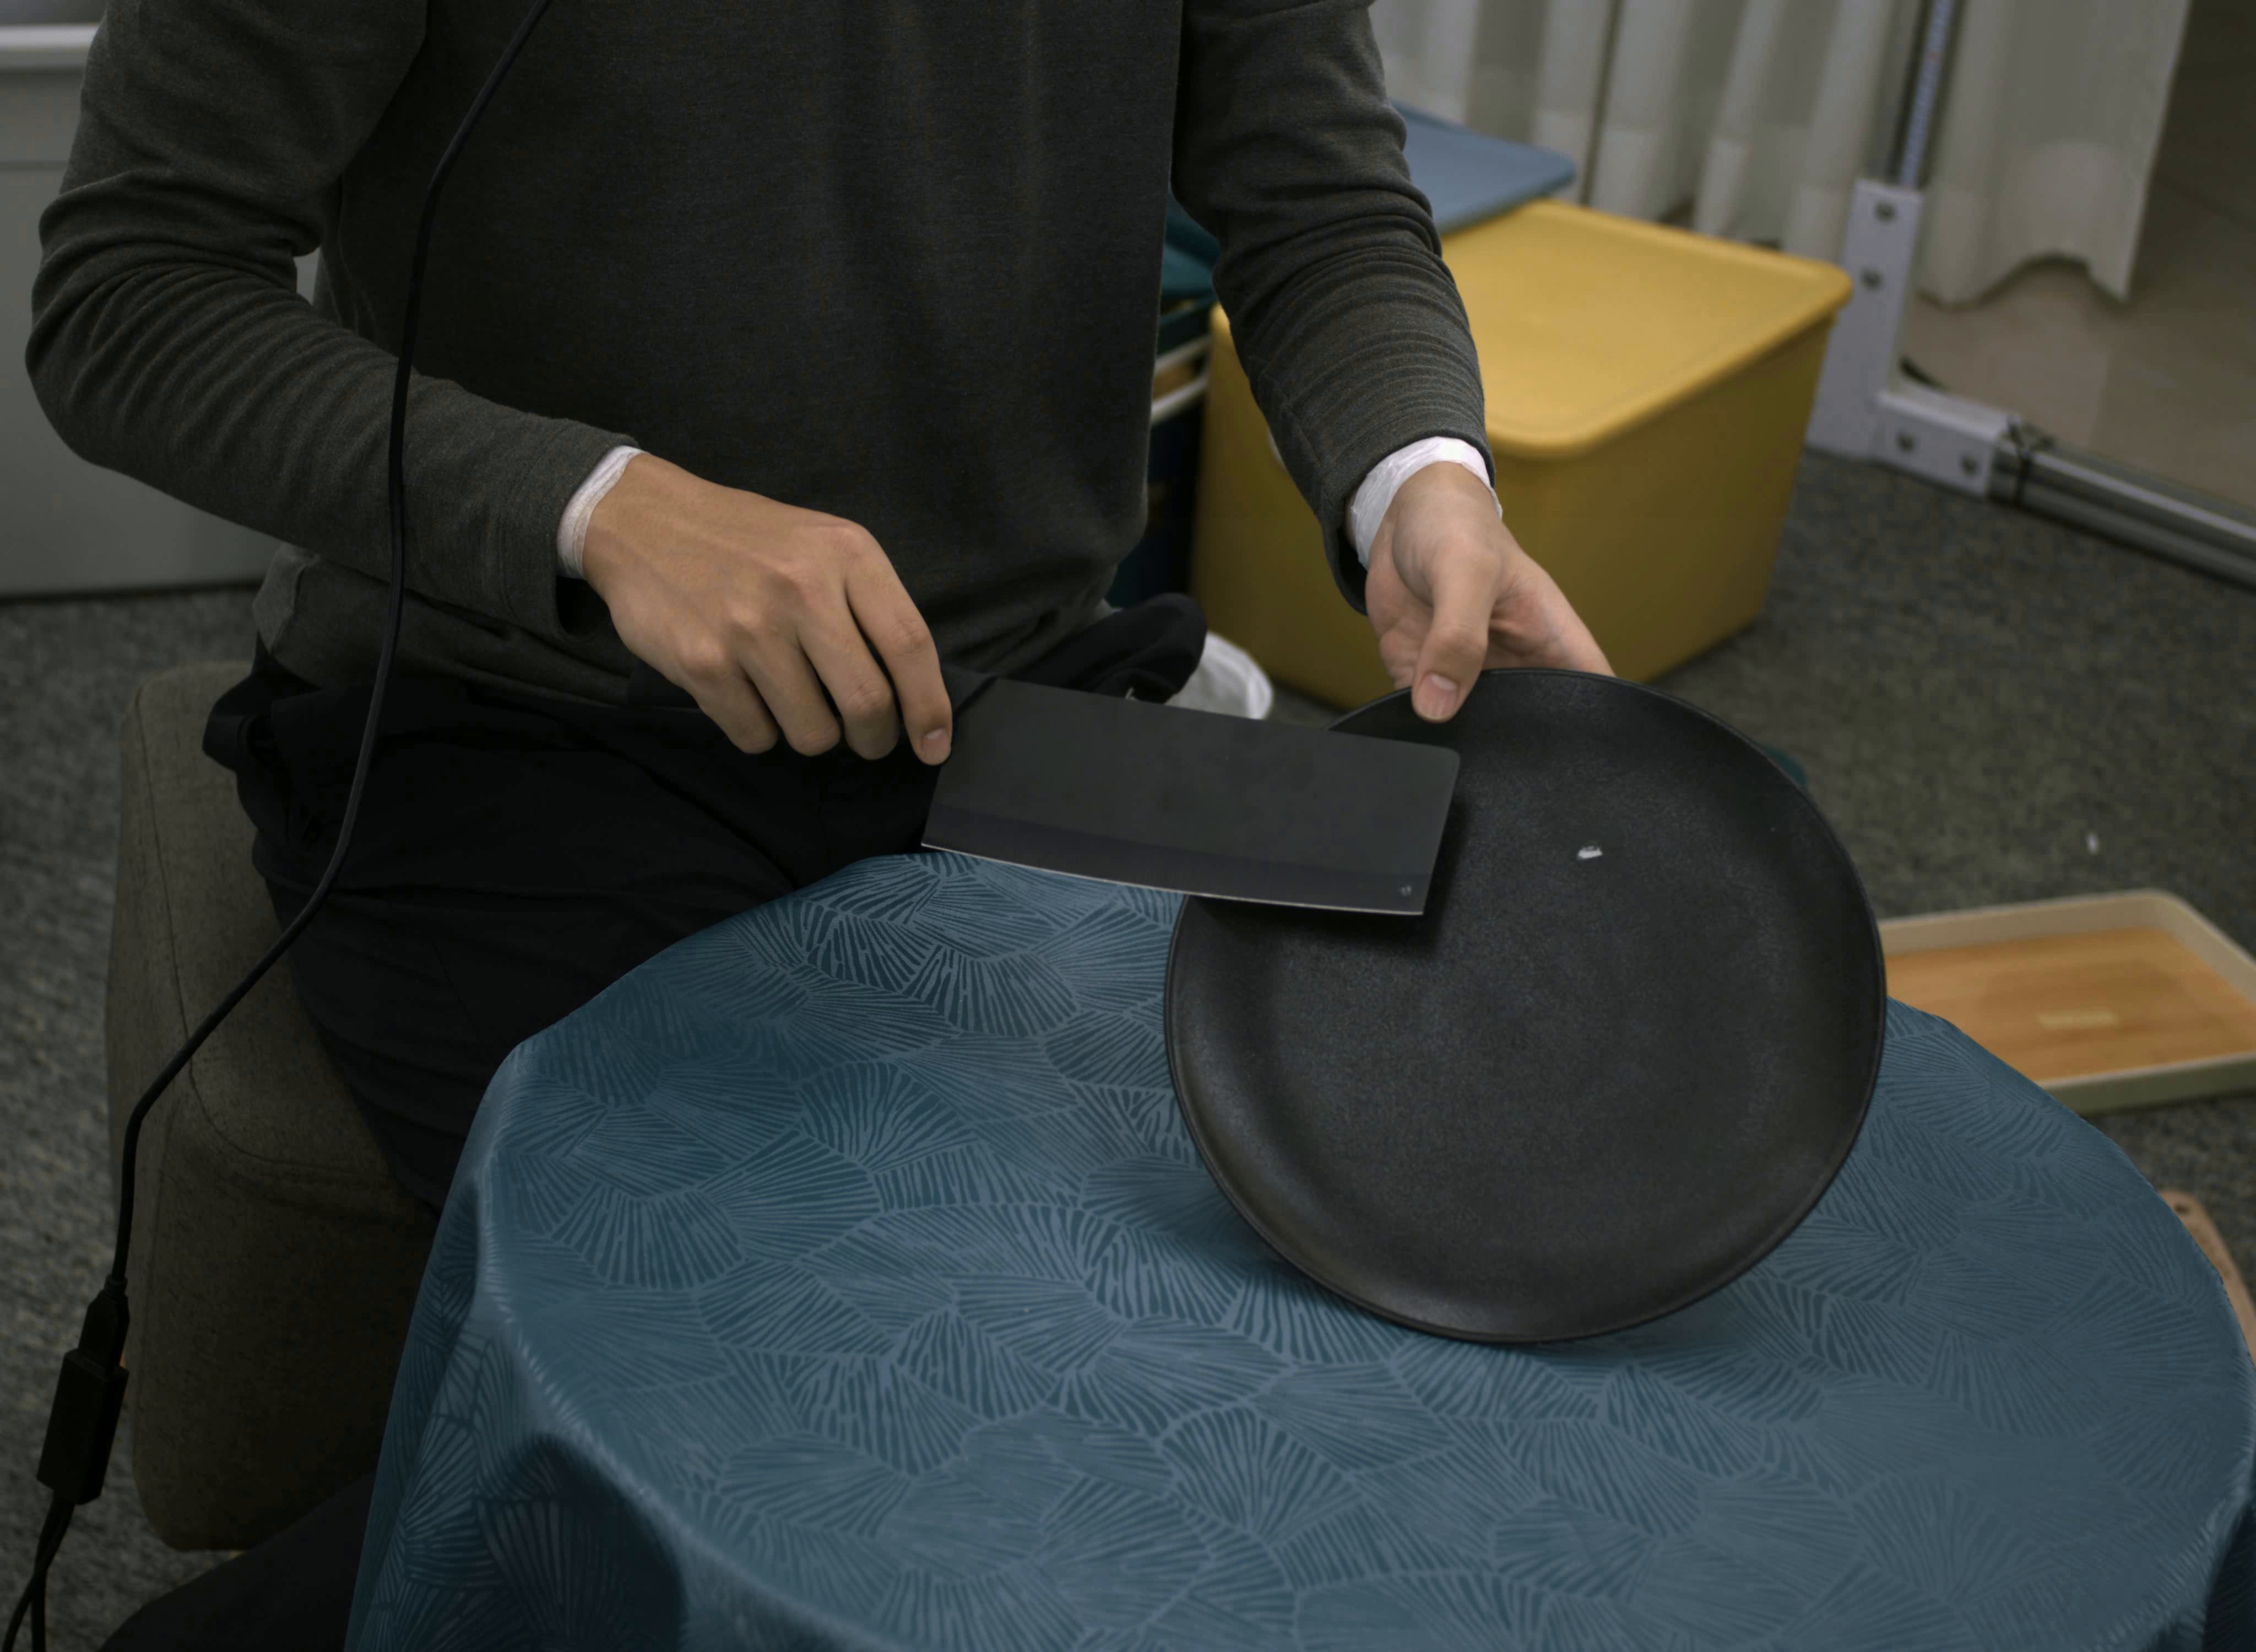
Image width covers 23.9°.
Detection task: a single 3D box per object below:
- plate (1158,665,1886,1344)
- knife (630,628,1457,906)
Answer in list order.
[{"bbox_3d":[0.132,0.061,1.793,0.244,0.023,0.246,-3,67,6],"label":"plate"},{"bbox_3d":[-0.034,-0.024,1.846,0.303,0.081,0.020,13,-18,19],"label":"knife"}]
